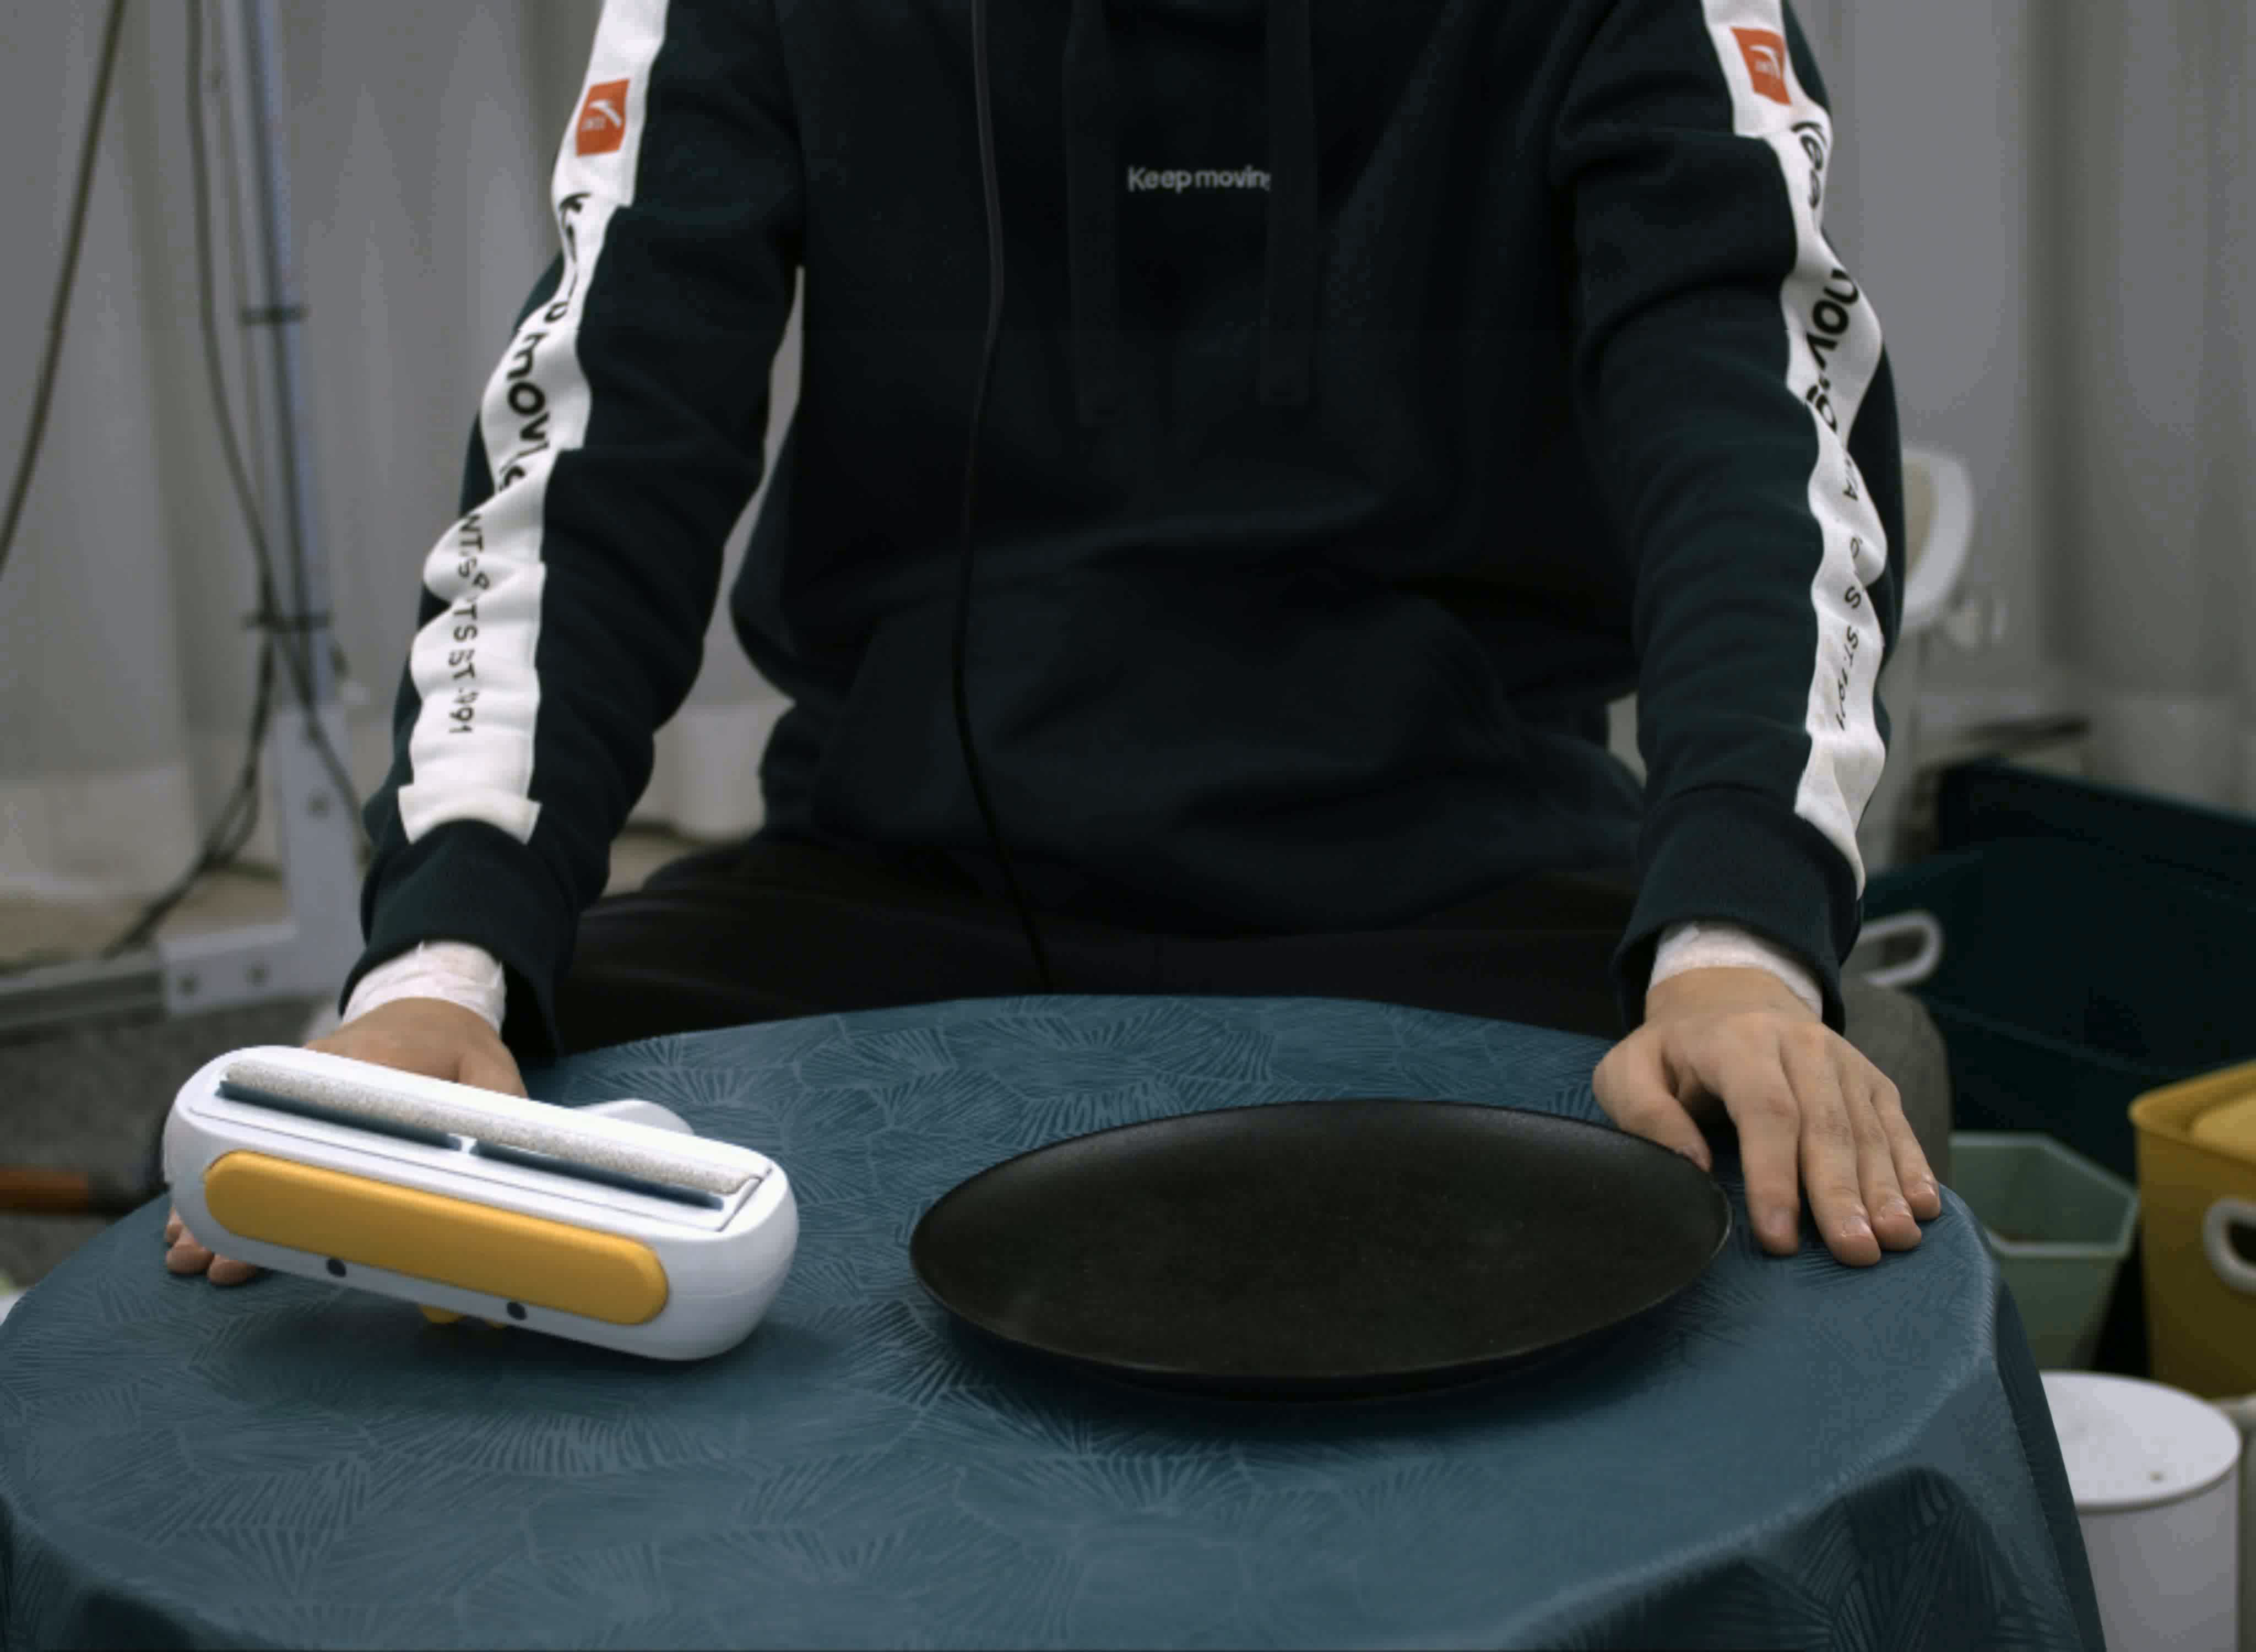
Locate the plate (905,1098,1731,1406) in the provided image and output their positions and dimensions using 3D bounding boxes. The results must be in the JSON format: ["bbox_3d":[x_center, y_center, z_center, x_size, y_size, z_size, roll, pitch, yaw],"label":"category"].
[{"bbox_3d":[0.056,0.128,1.609,0.243,0.023,0.246,-3,15,0],"label":"plate"}]

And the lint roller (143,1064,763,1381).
[{"bbox_3d":[-0.180,0.122,1.667,0.193,0.074,0.192,10,4,21],"label":"lint roller"}]
